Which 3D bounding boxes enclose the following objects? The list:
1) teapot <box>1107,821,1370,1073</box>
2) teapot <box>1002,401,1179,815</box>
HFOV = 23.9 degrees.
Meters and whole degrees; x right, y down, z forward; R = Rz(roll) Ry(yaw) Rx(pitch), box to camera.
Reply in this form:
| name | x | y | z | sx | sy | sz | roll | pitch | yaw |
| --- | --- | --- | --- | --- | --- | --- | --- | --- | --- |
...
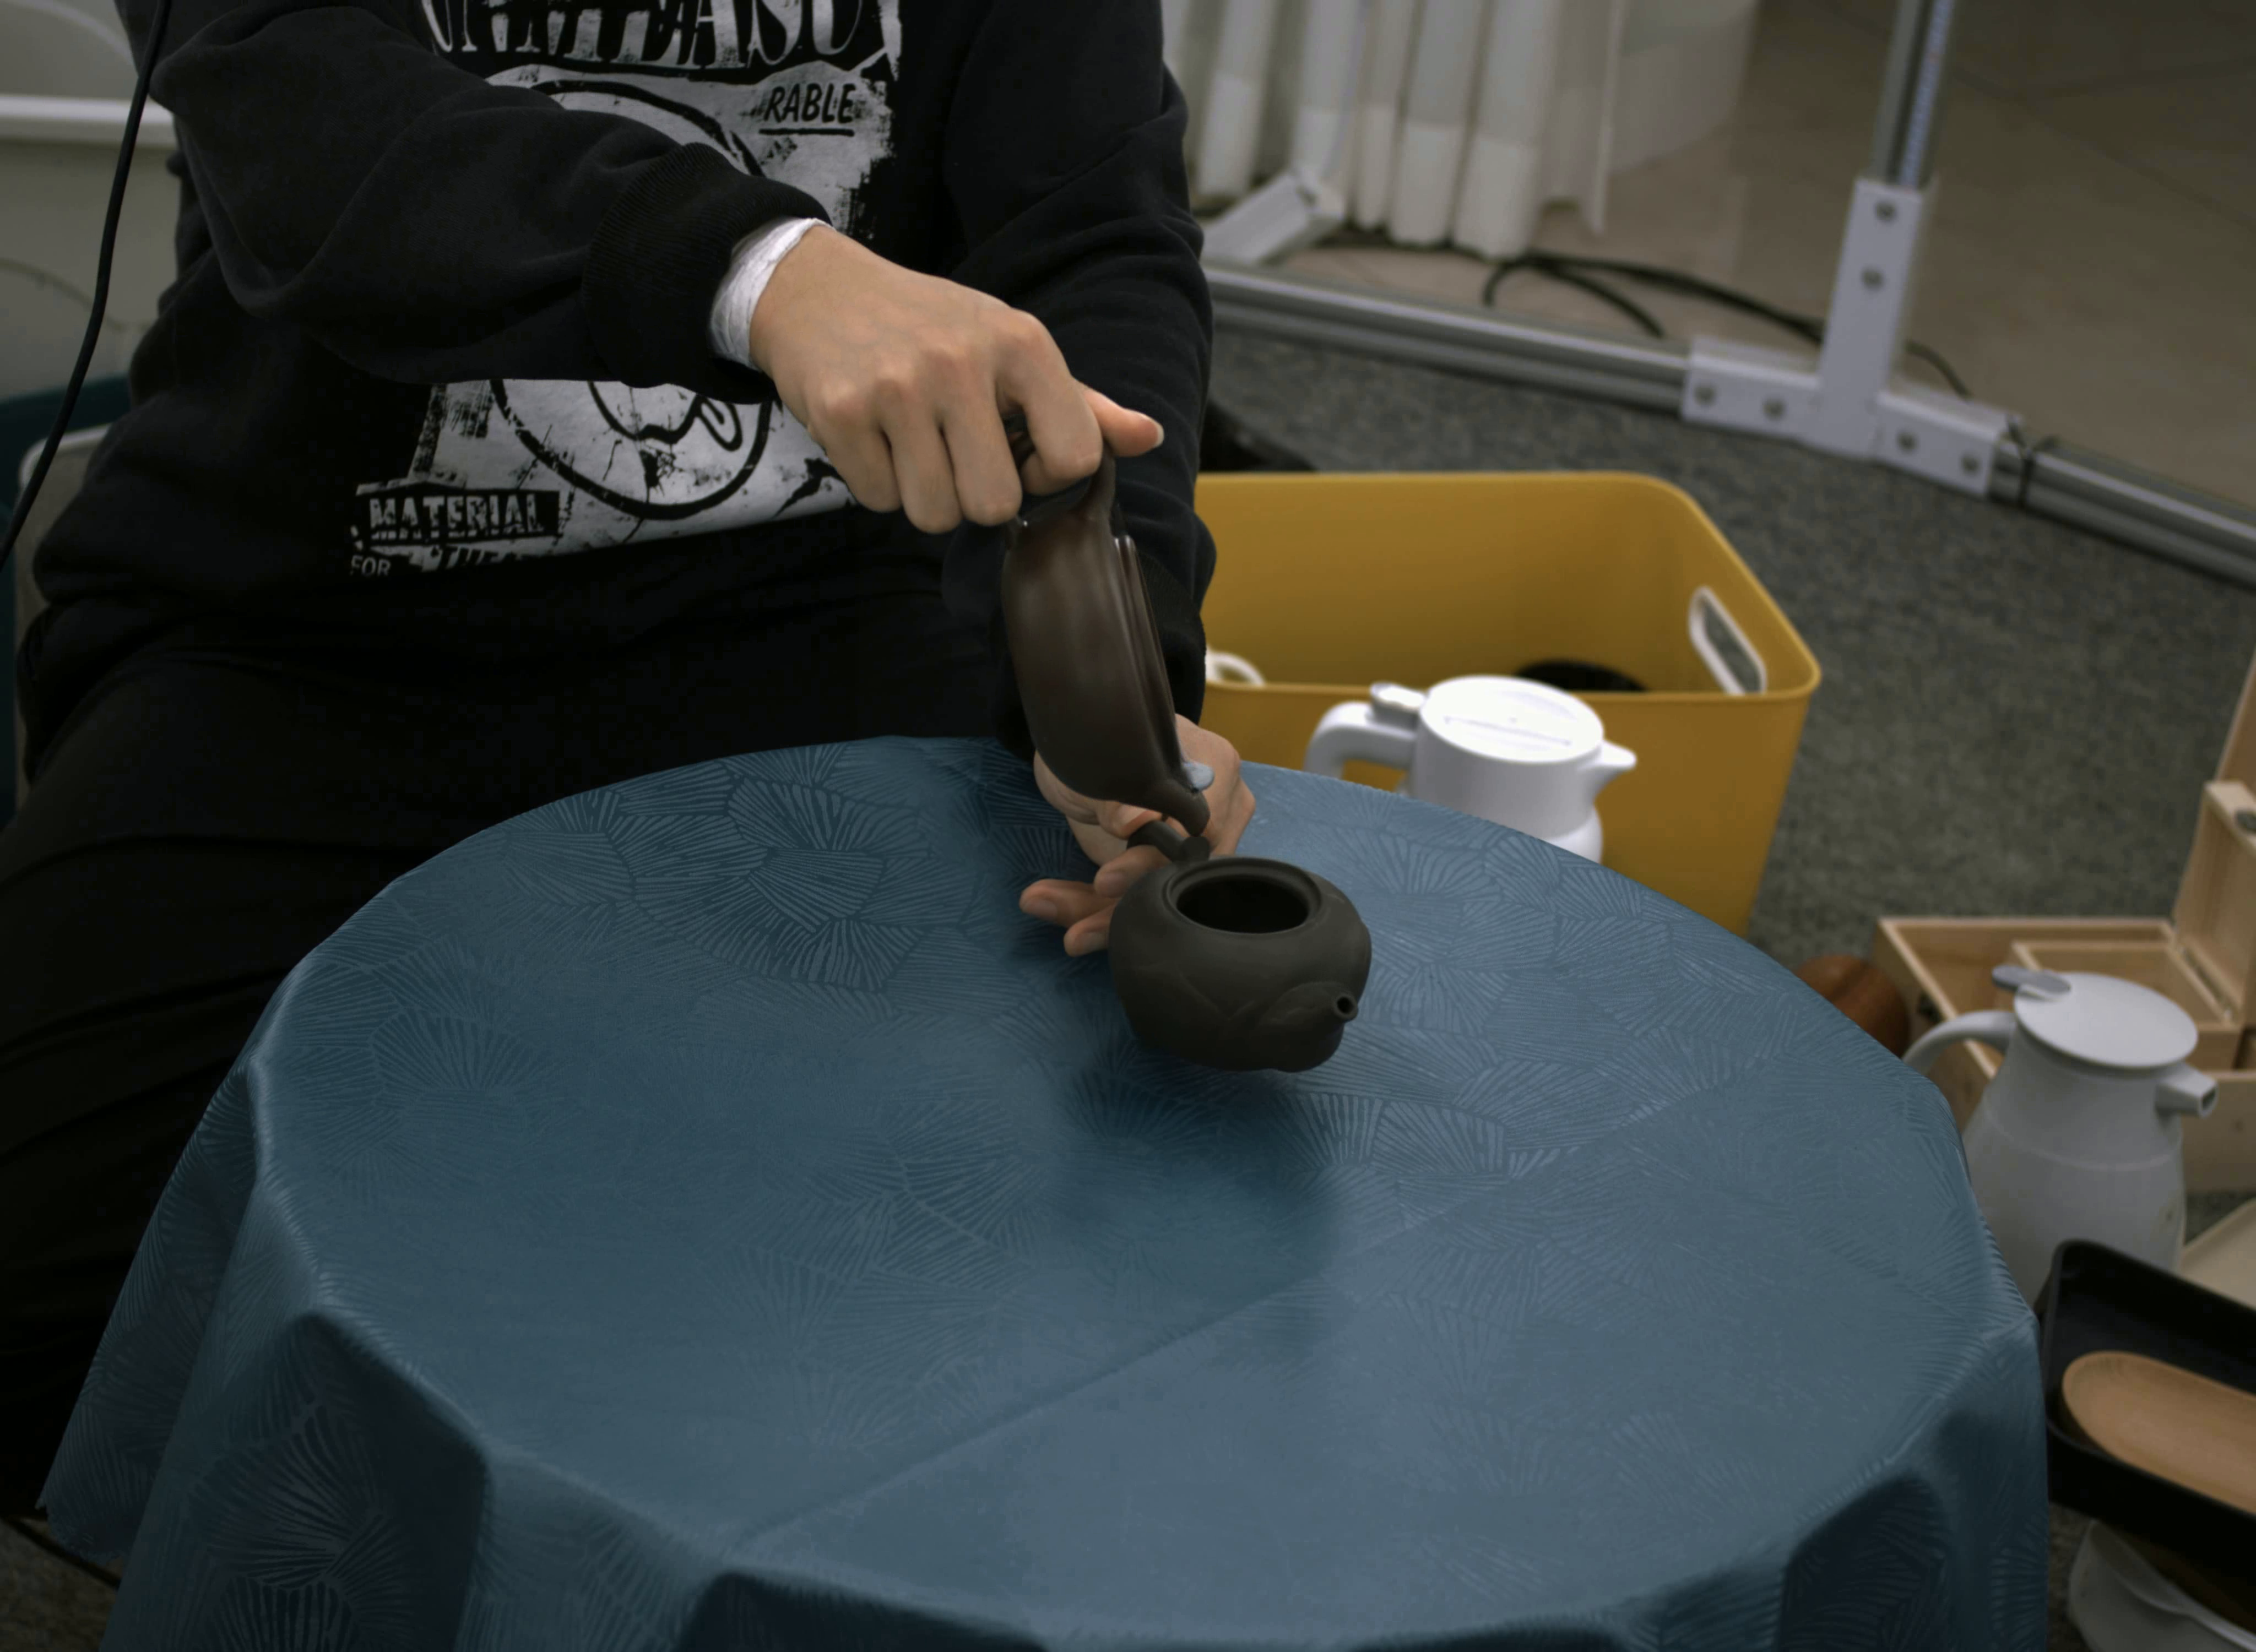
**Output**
| name | x | y | z | sx | sy | sz | roll | pitch | yaw |
| --- | --- | --- | --- | --- | --- | --- | --- | --- | --- |
| teapot | 0.037 | 0.046 | 1.876 | 0.092 | 0.064 | 0.155 | -8 | 30 | -27 |
| teapot | -0.014 | -0.072 | 1.821 | 0.053 | 0.153 | 0.103 | -6 | 27 | -3 |
